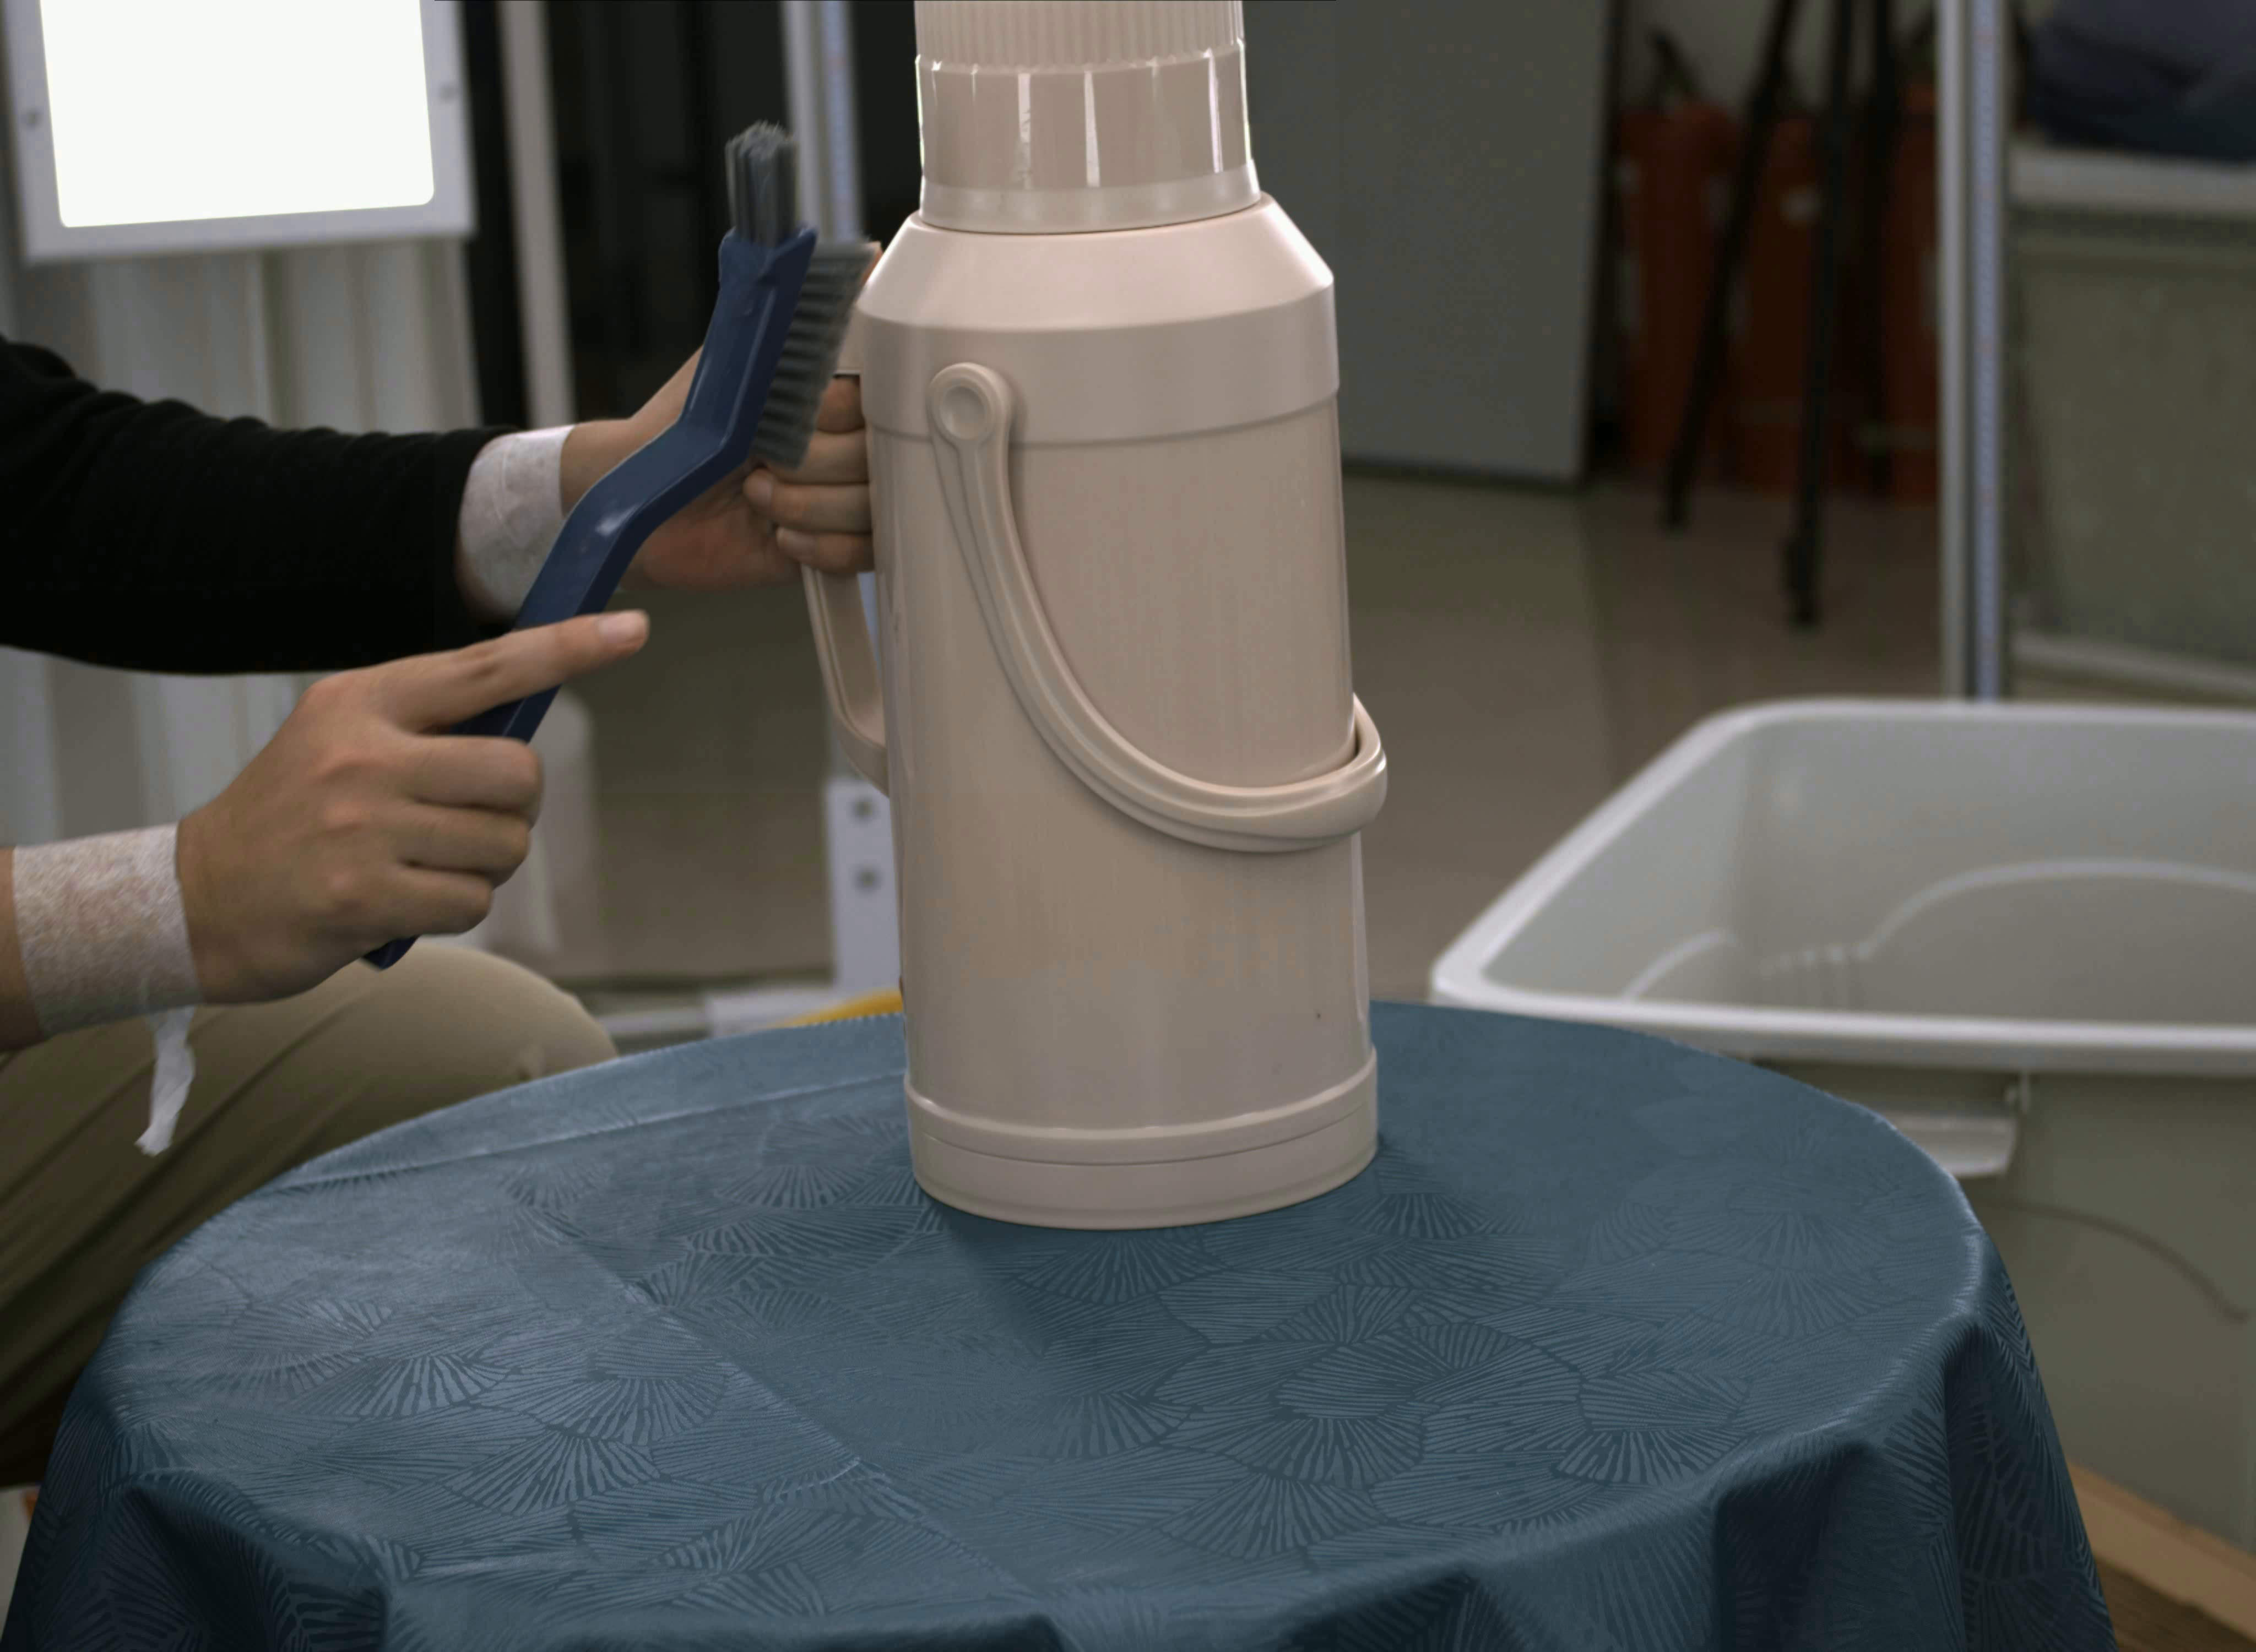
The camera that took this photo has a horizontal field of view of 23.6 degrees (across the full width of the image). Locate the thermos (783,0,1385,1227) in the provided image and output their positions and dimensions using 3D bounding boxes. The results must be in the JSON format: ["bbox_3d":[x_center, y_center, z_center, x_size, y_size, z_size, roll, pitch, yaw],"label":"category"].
[{"bbox_3d":[-0.017,-0.084,1.772,0.208,0.411,0.173,4,17,29],"label":"thermos"}]

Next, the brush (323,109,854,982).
[{"bbox_3d":[-0.172,-0.083,1.643,0.034,0.274,0.094,27,-12,42],"label":"brush"}]
